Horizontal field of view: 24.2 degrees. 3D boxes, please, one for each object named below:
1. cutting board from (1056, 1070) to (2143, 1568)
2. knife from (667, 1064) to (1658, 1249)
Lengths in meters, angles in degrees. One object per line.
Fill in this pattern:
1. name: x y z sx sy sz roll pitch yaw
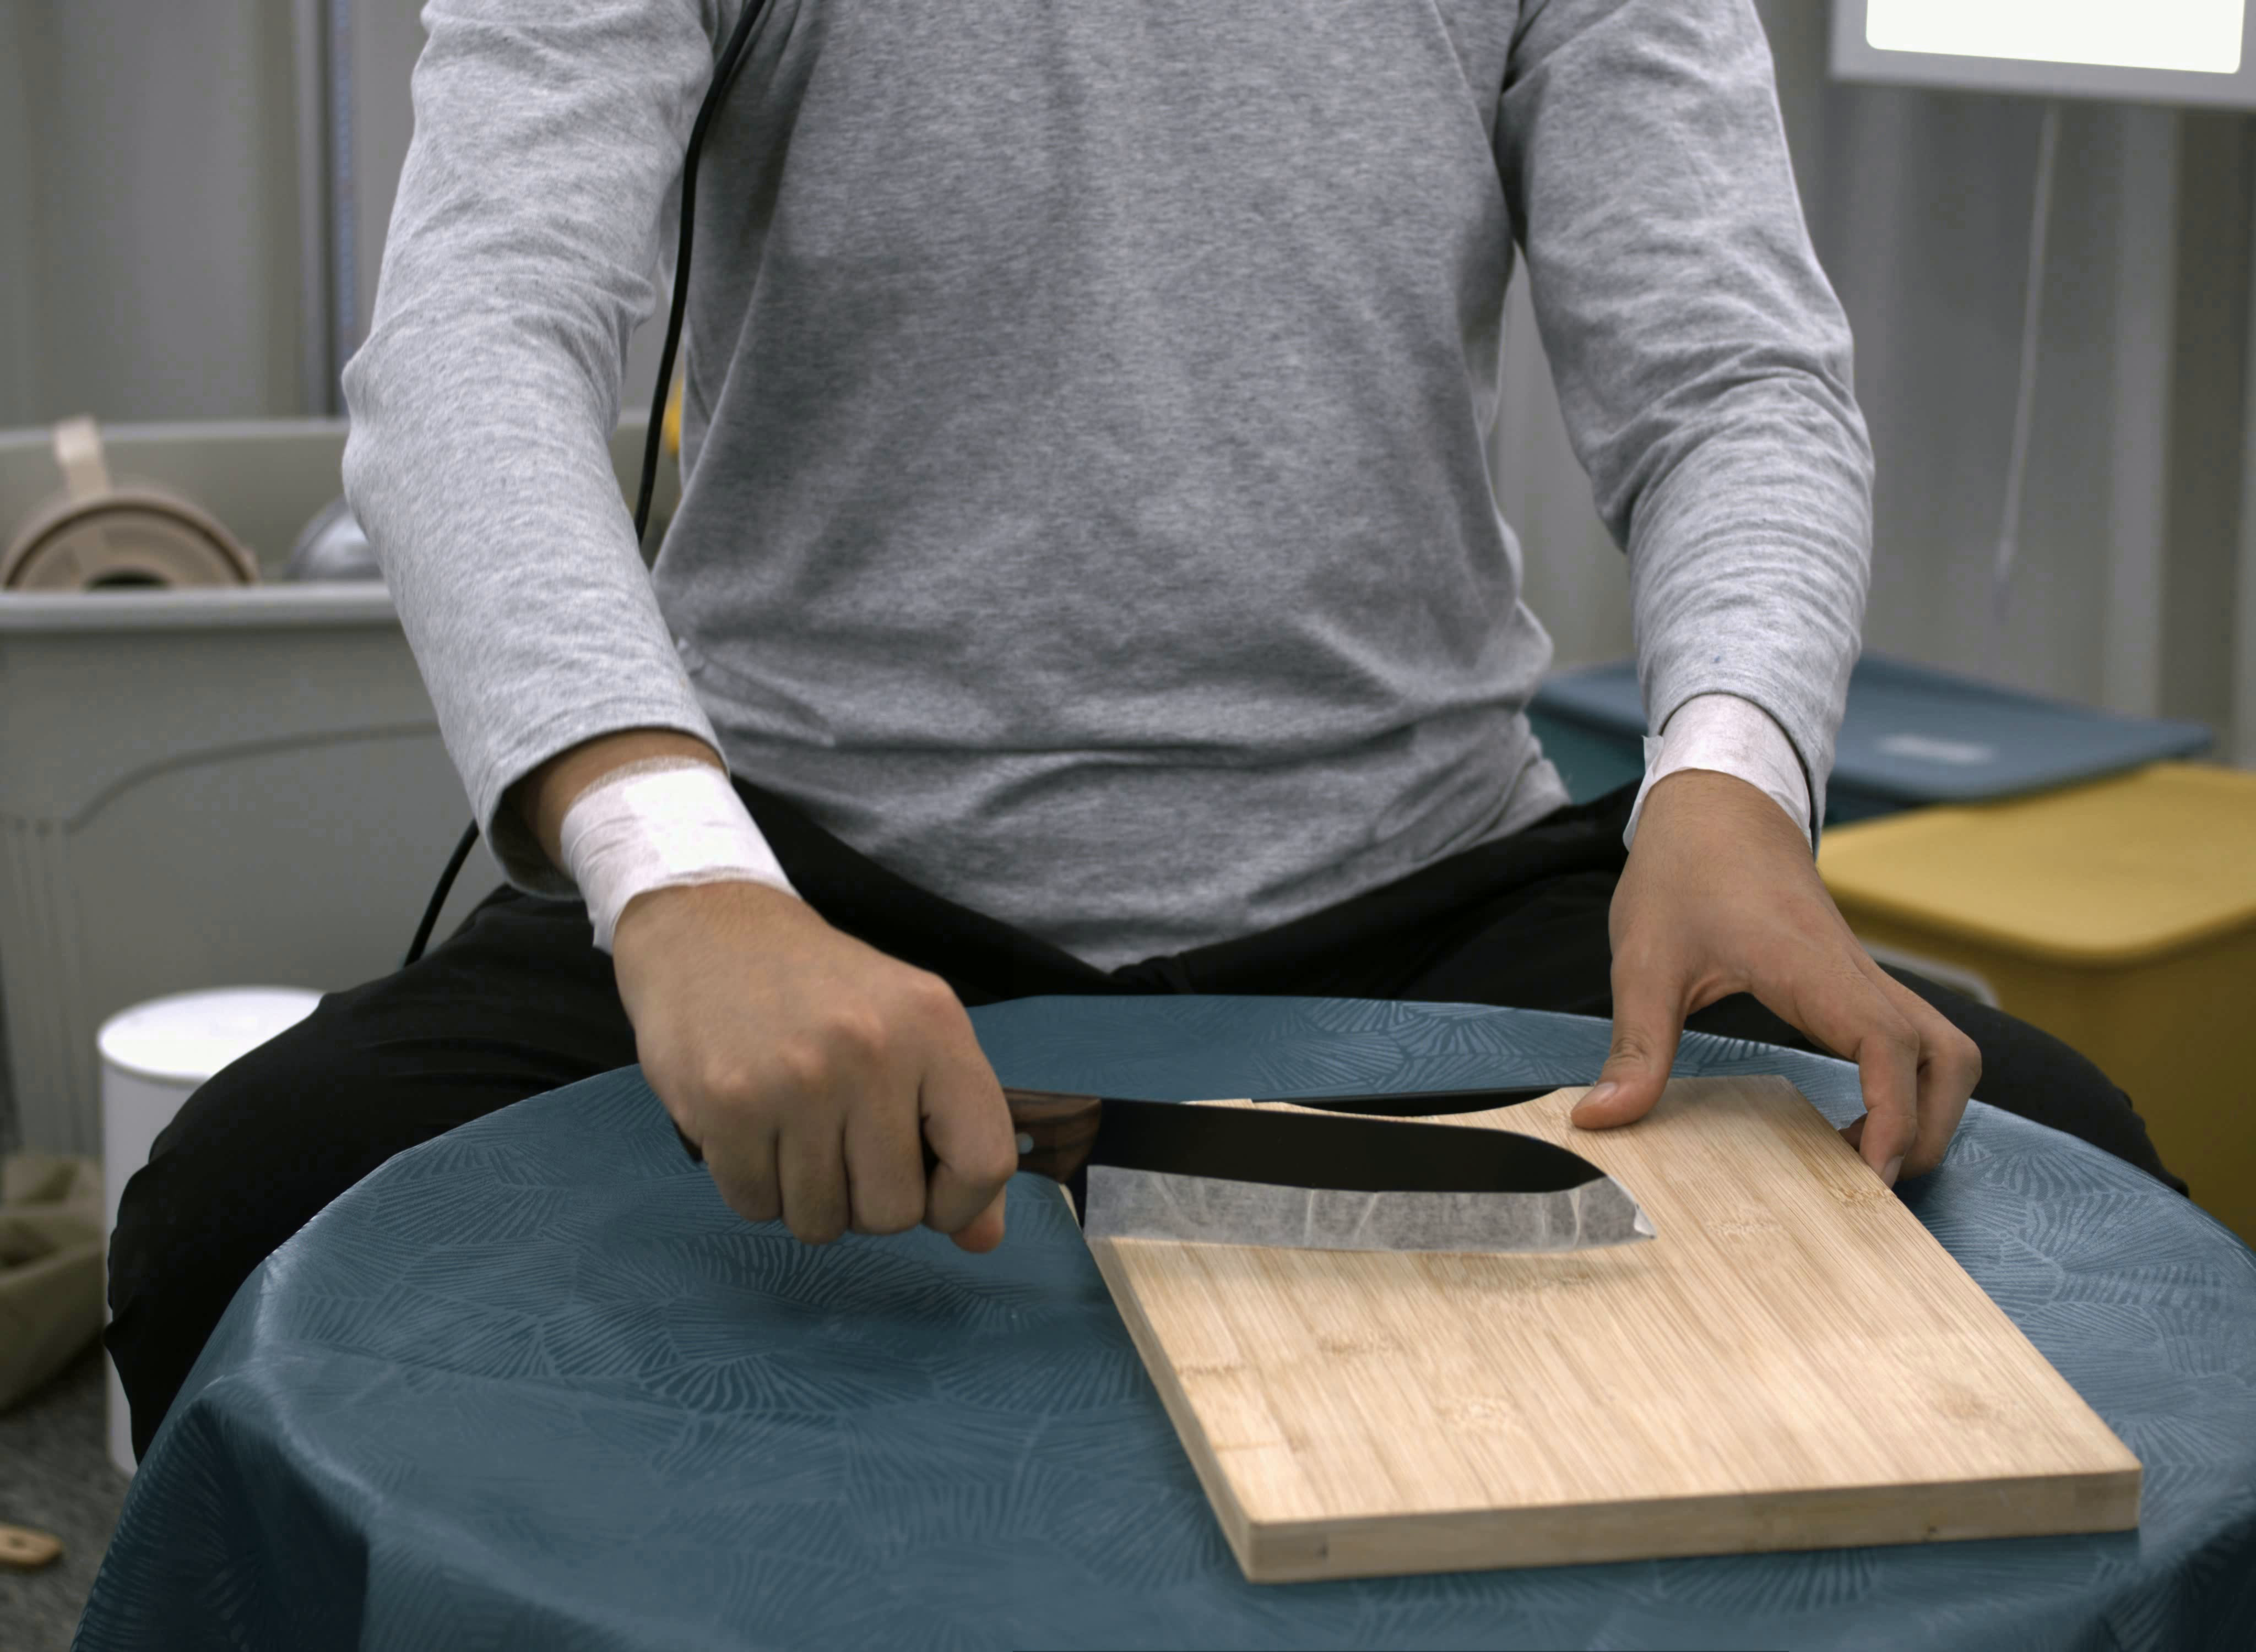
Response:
1. cutting board: 0.120 0.135 1.516 0.251 0.024 0.345 -2 15 -10
2. knife: 0.010 0.096 1.518 0.288 0.051 0.020 6 27 2
